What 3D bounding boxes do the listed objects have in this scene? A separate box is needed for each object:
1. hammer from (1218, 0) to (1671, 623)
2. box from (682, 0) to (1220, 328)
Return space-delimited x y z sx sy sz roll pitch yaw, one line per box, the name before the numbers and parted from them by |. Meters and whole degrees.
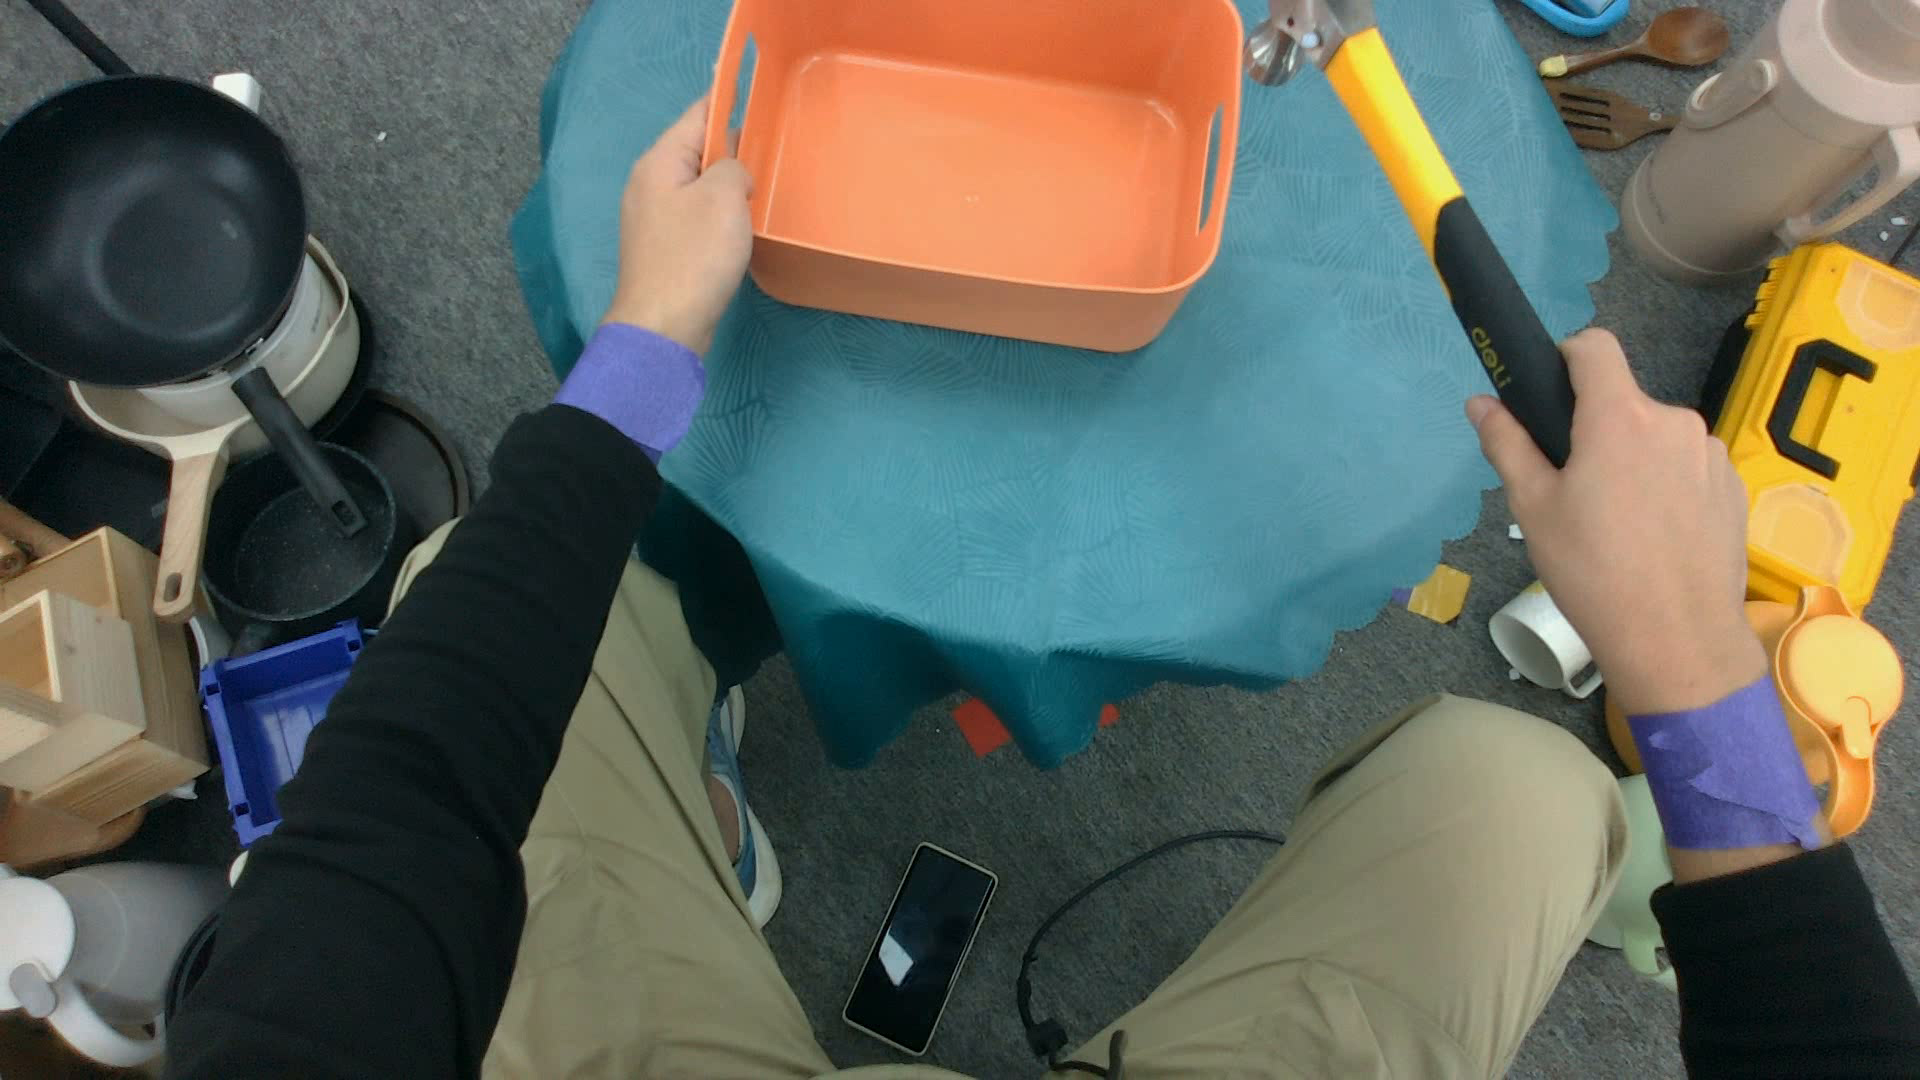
hammer | 0.214 -0.118 0.608 0.032 0.131 0.338 -25 83 -8
box | -0.003 -0.225 0.763 0.273 0.102 0.200 8 74 0
